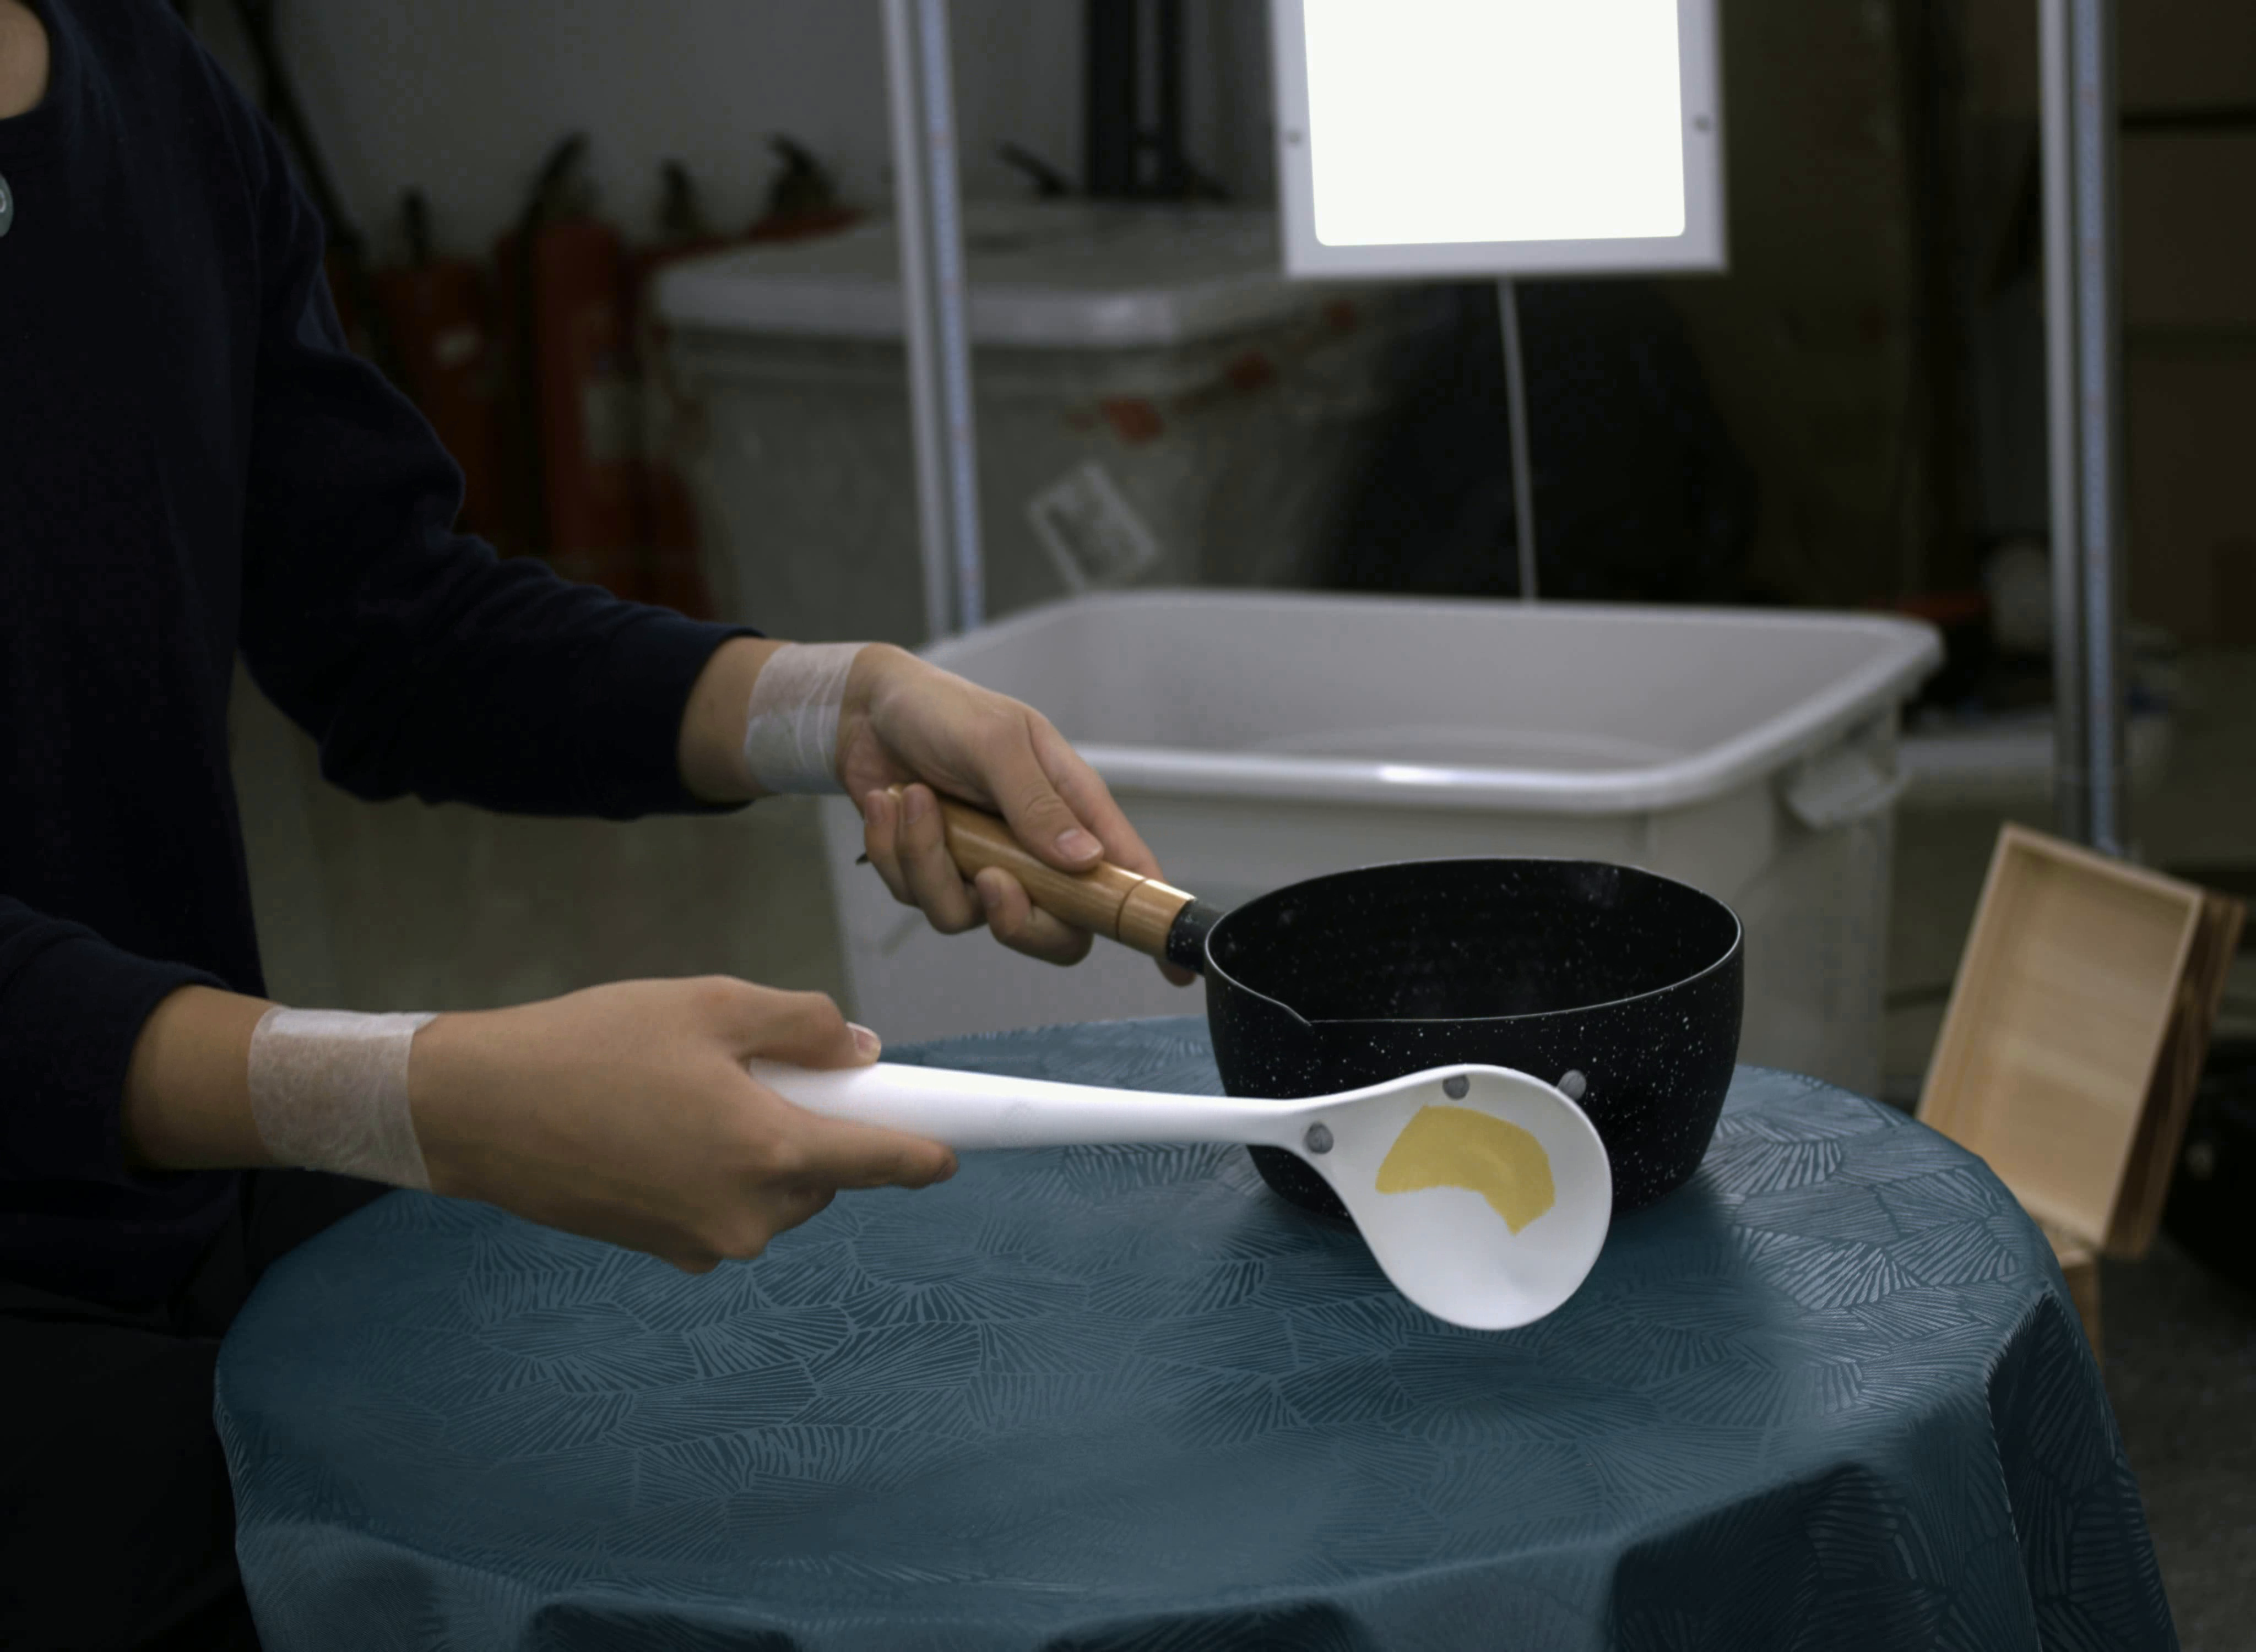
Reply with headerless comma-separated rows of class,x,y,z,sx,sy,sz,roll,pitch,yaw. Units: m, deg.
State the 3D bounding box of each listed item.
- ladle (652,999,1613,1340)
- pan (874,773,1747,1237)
ladle,0.003,0.096,1.646,0.287,0.091,0.070,9,32,-21
pan,0.053,0.056,1.913,0.349,0.109,0.202,9,21,34
